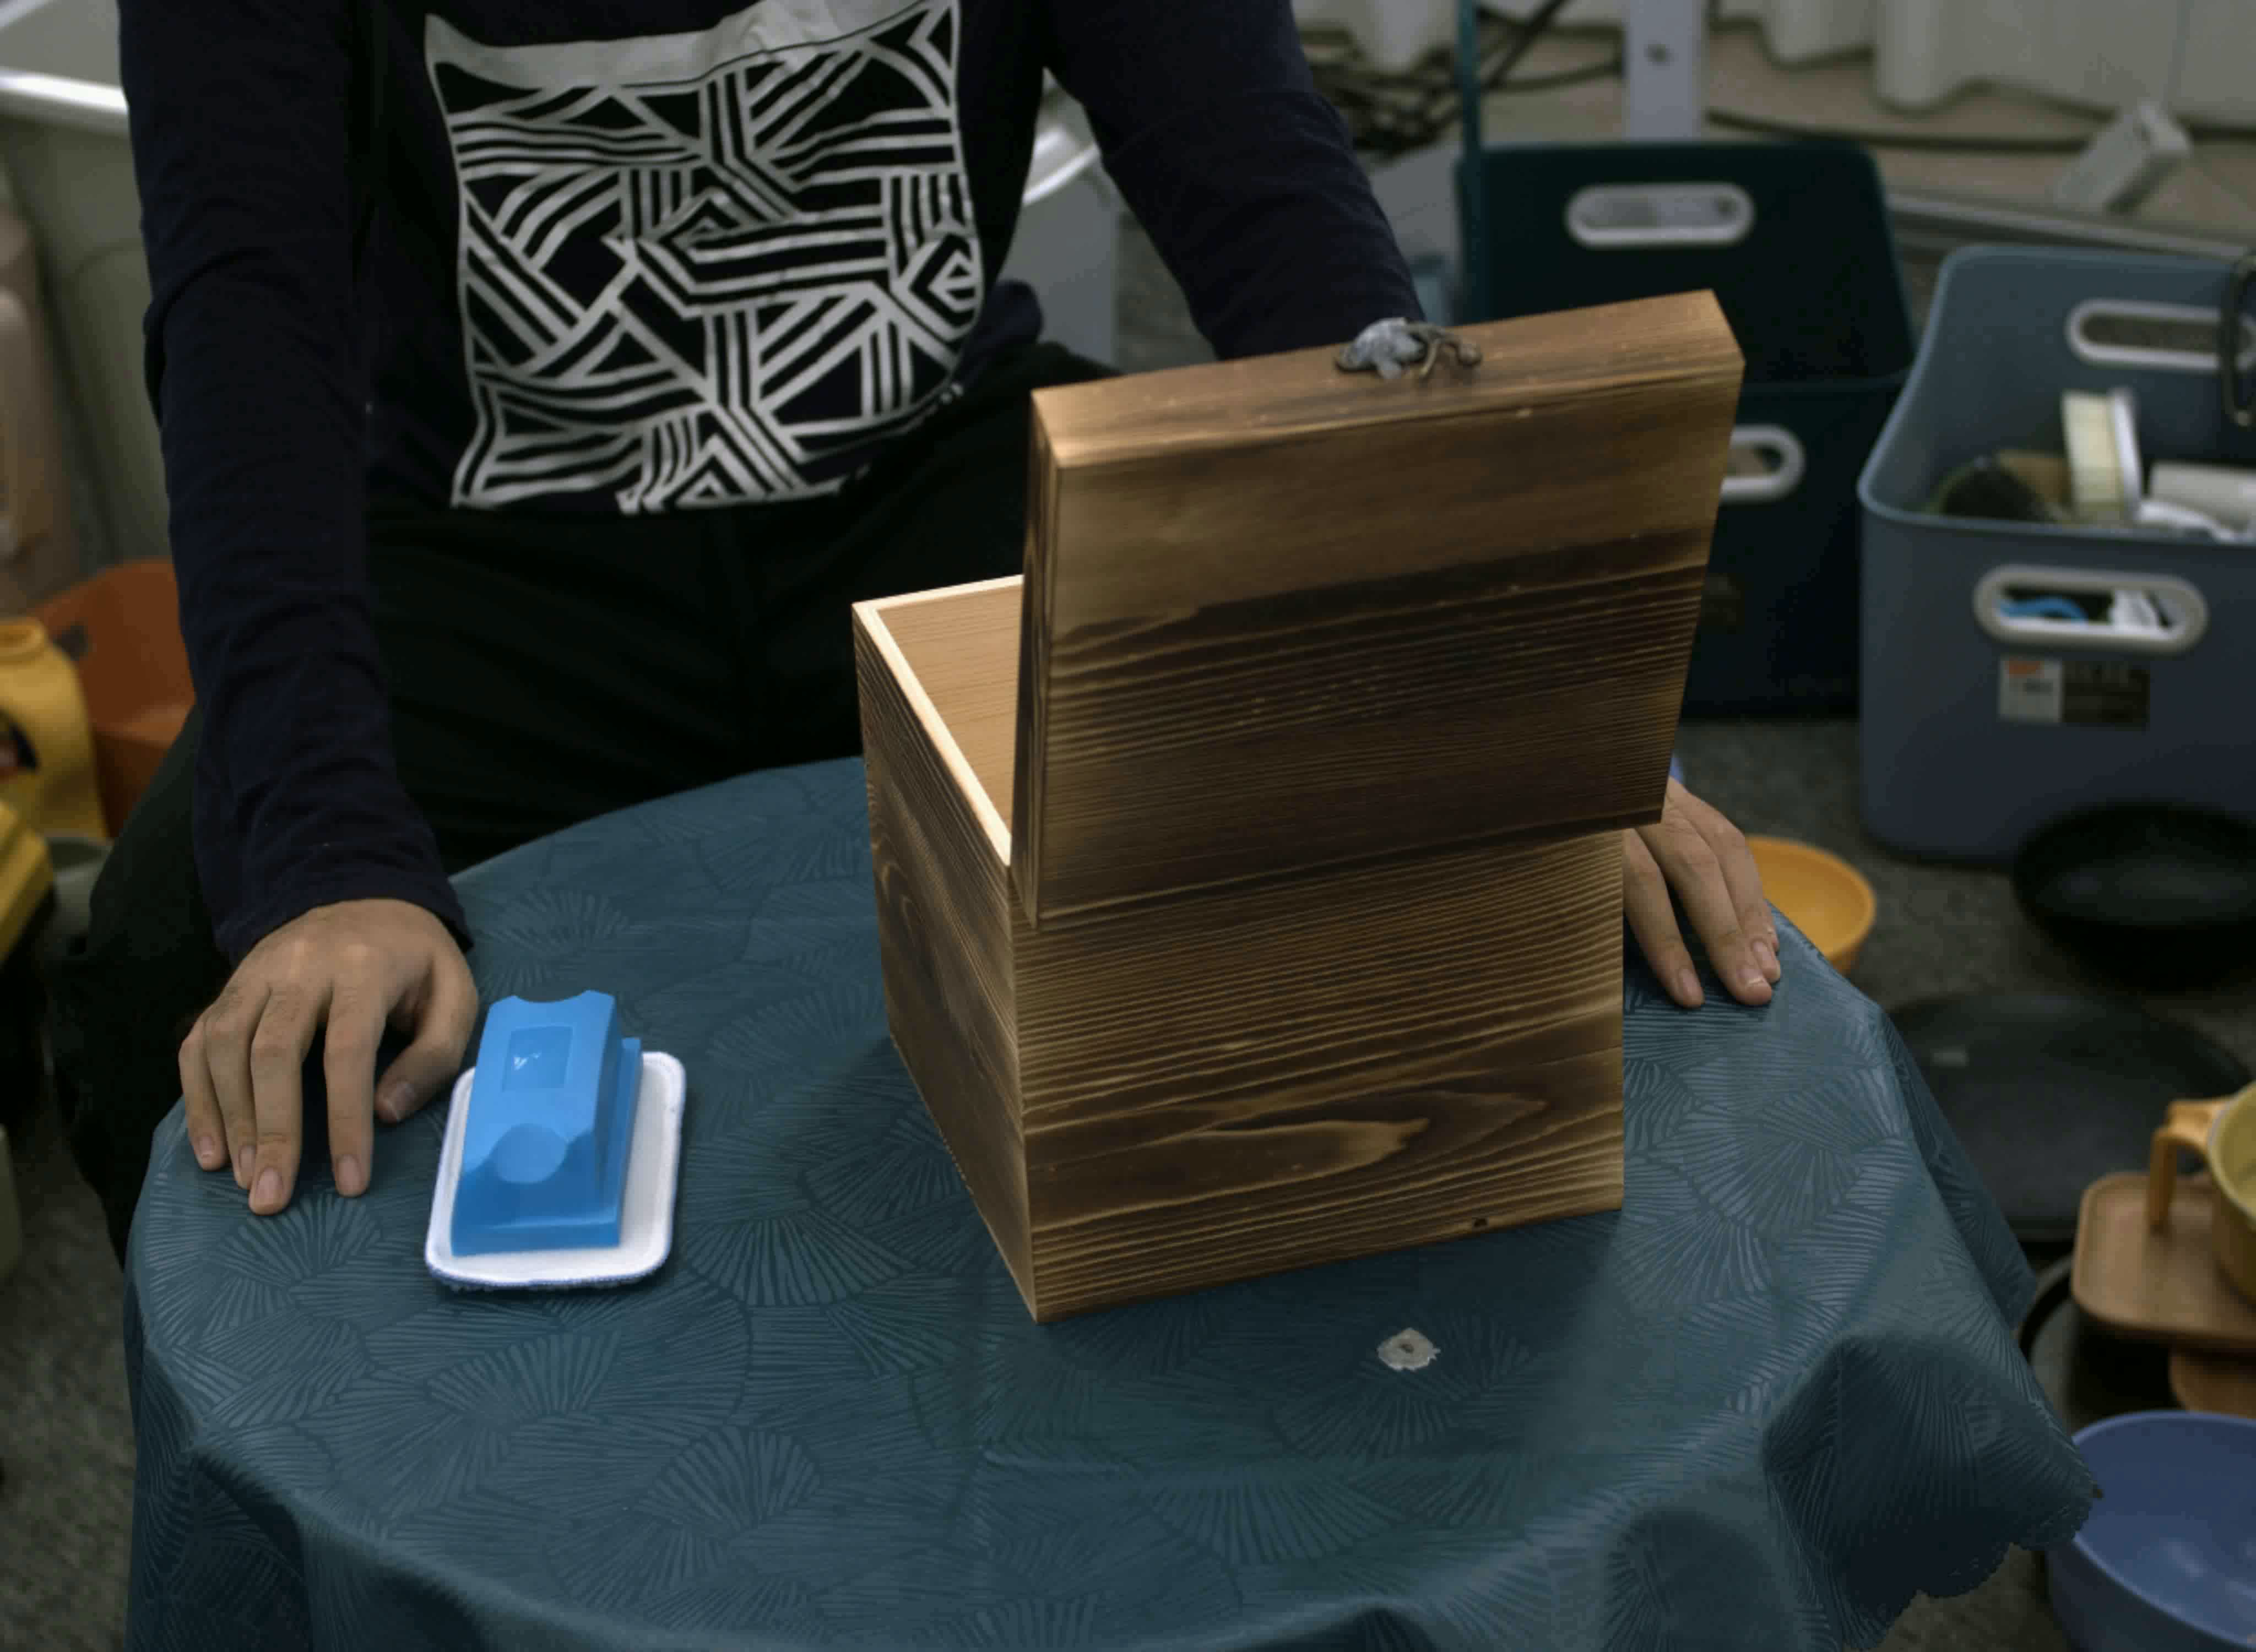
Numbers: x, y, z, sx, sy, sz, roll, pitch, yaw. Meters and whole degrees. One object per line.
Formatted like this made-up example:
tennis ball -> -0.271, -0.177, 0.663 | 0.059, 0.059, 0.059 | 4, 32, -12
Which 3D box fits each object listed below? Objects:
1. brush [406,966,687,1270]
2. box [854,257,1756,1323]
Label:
brush -> -0.193, 0.093, 1.869 | 0.083, 0.055, 0.146 | 1, 29, 1
box -> 0.047, -0.039, 1.777 | 0.209, 0.371, 0.325 | -10, 27, -14
